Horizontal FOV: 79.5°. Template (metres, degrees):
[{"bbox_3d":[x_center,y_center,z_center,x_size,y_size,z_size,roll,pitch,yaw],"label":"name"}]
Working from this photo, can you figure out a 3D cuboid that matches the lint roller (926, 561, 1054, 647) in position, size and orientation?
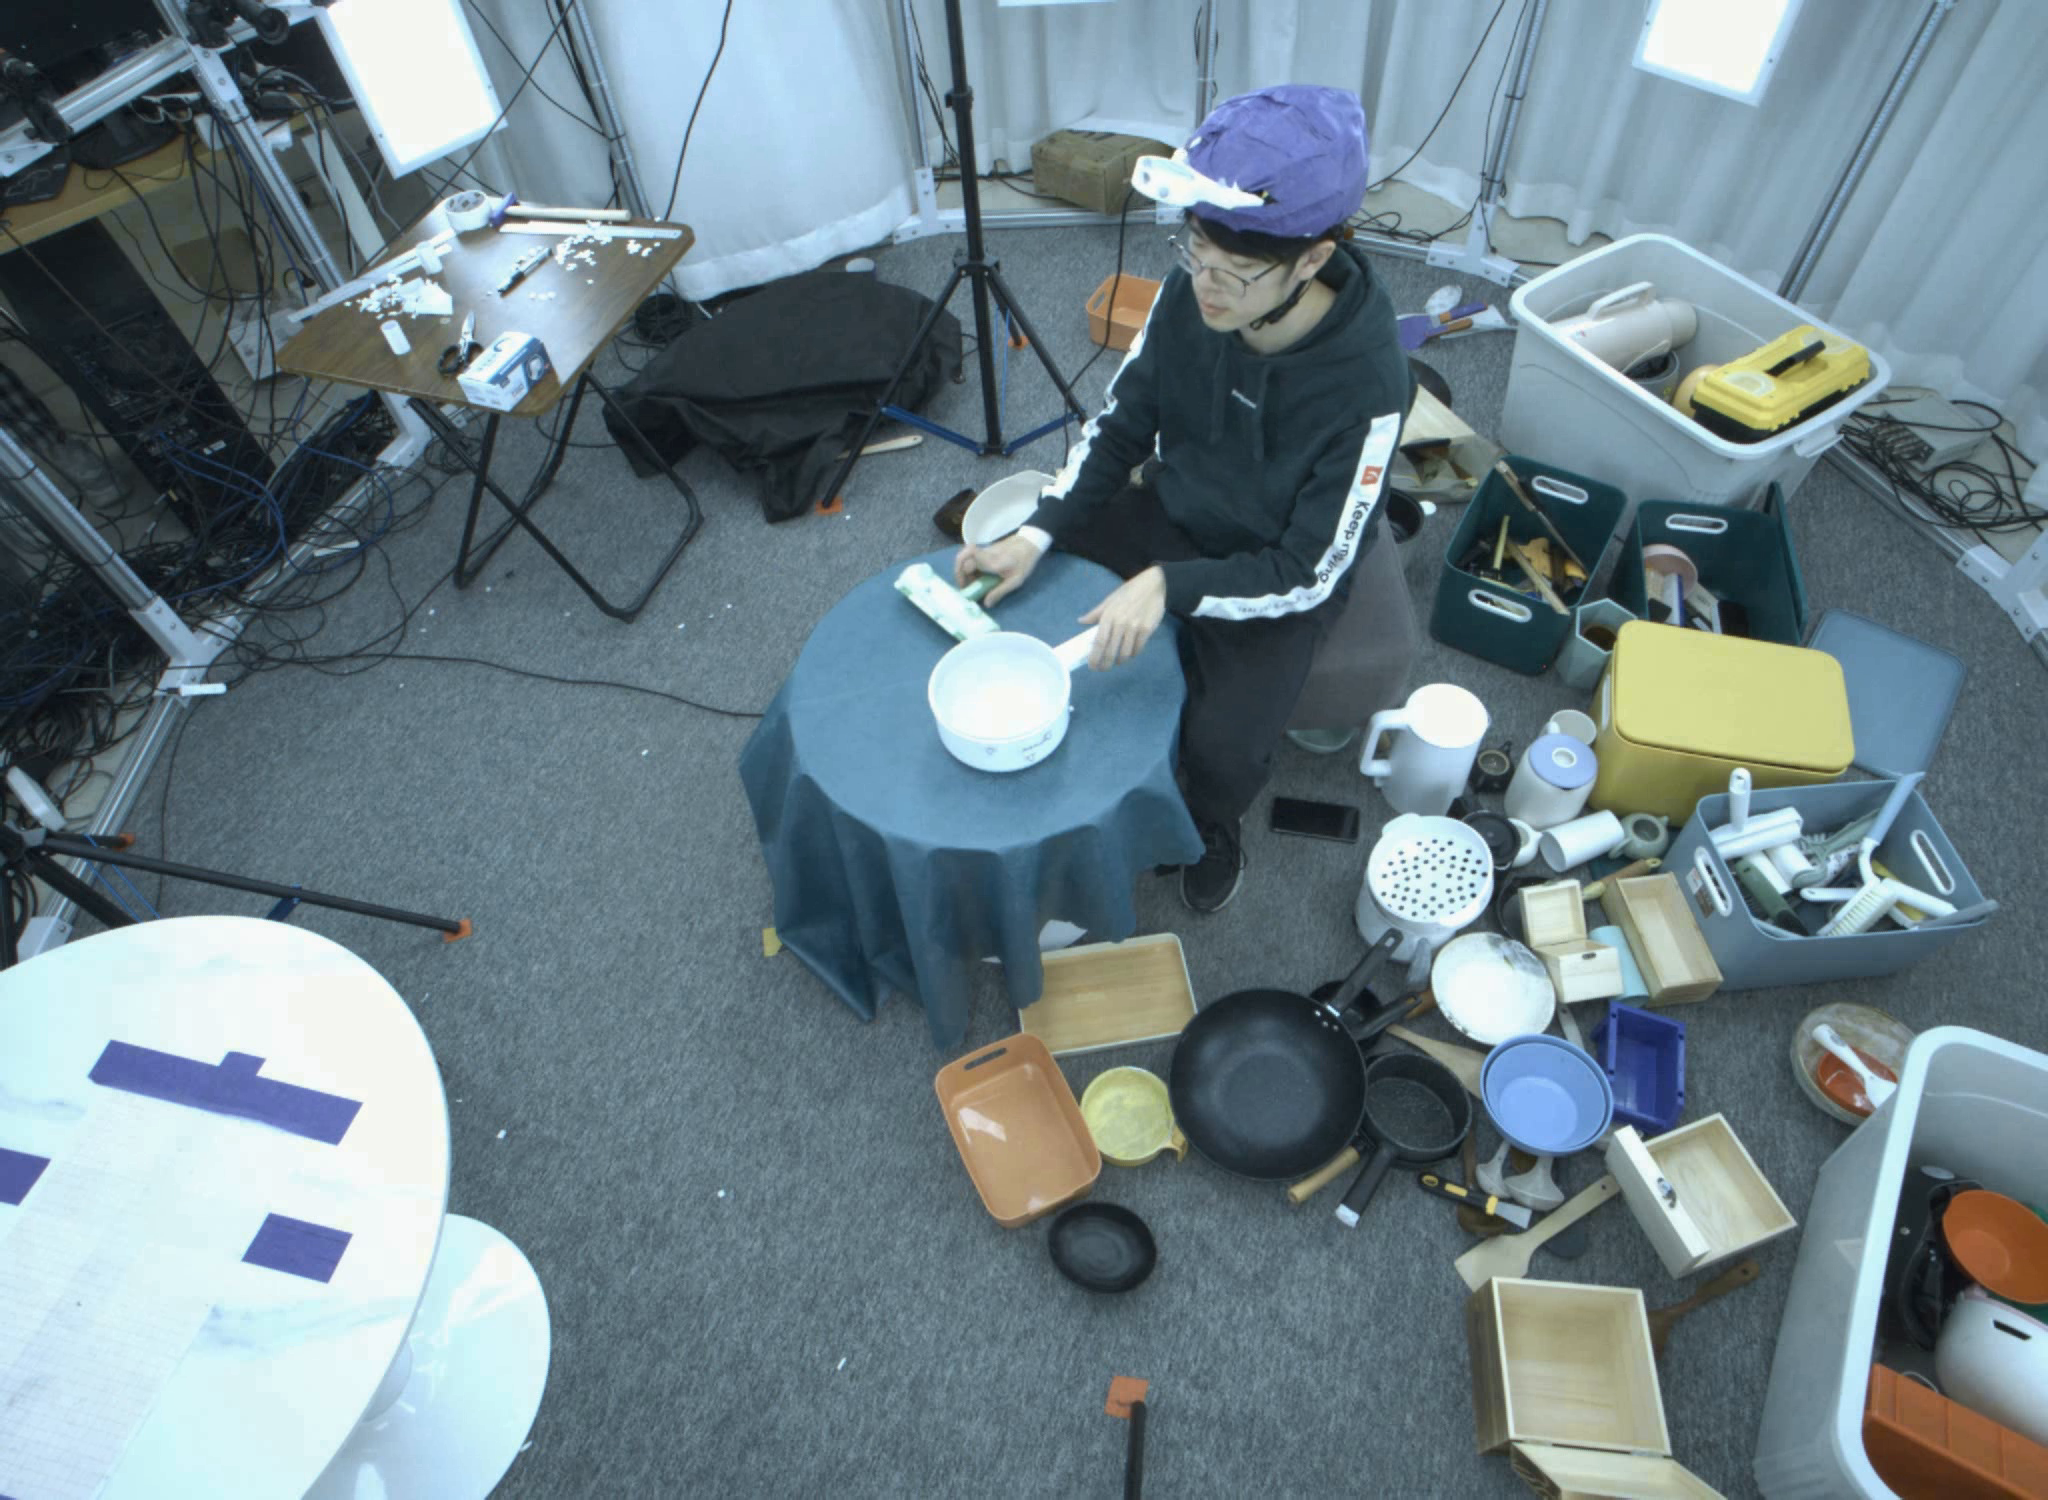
[{"bbox_3d":[-0.028,-0.259,1.921,0.184,0.083,0.195,-39,61,-16],"label":"lint roller"}]

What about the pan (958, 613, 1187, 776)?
[{"bbox_3d":[0.076,-0.090,1.785,0.358,0.103,0.197,-26,56,-17],"label":"pan"}]
